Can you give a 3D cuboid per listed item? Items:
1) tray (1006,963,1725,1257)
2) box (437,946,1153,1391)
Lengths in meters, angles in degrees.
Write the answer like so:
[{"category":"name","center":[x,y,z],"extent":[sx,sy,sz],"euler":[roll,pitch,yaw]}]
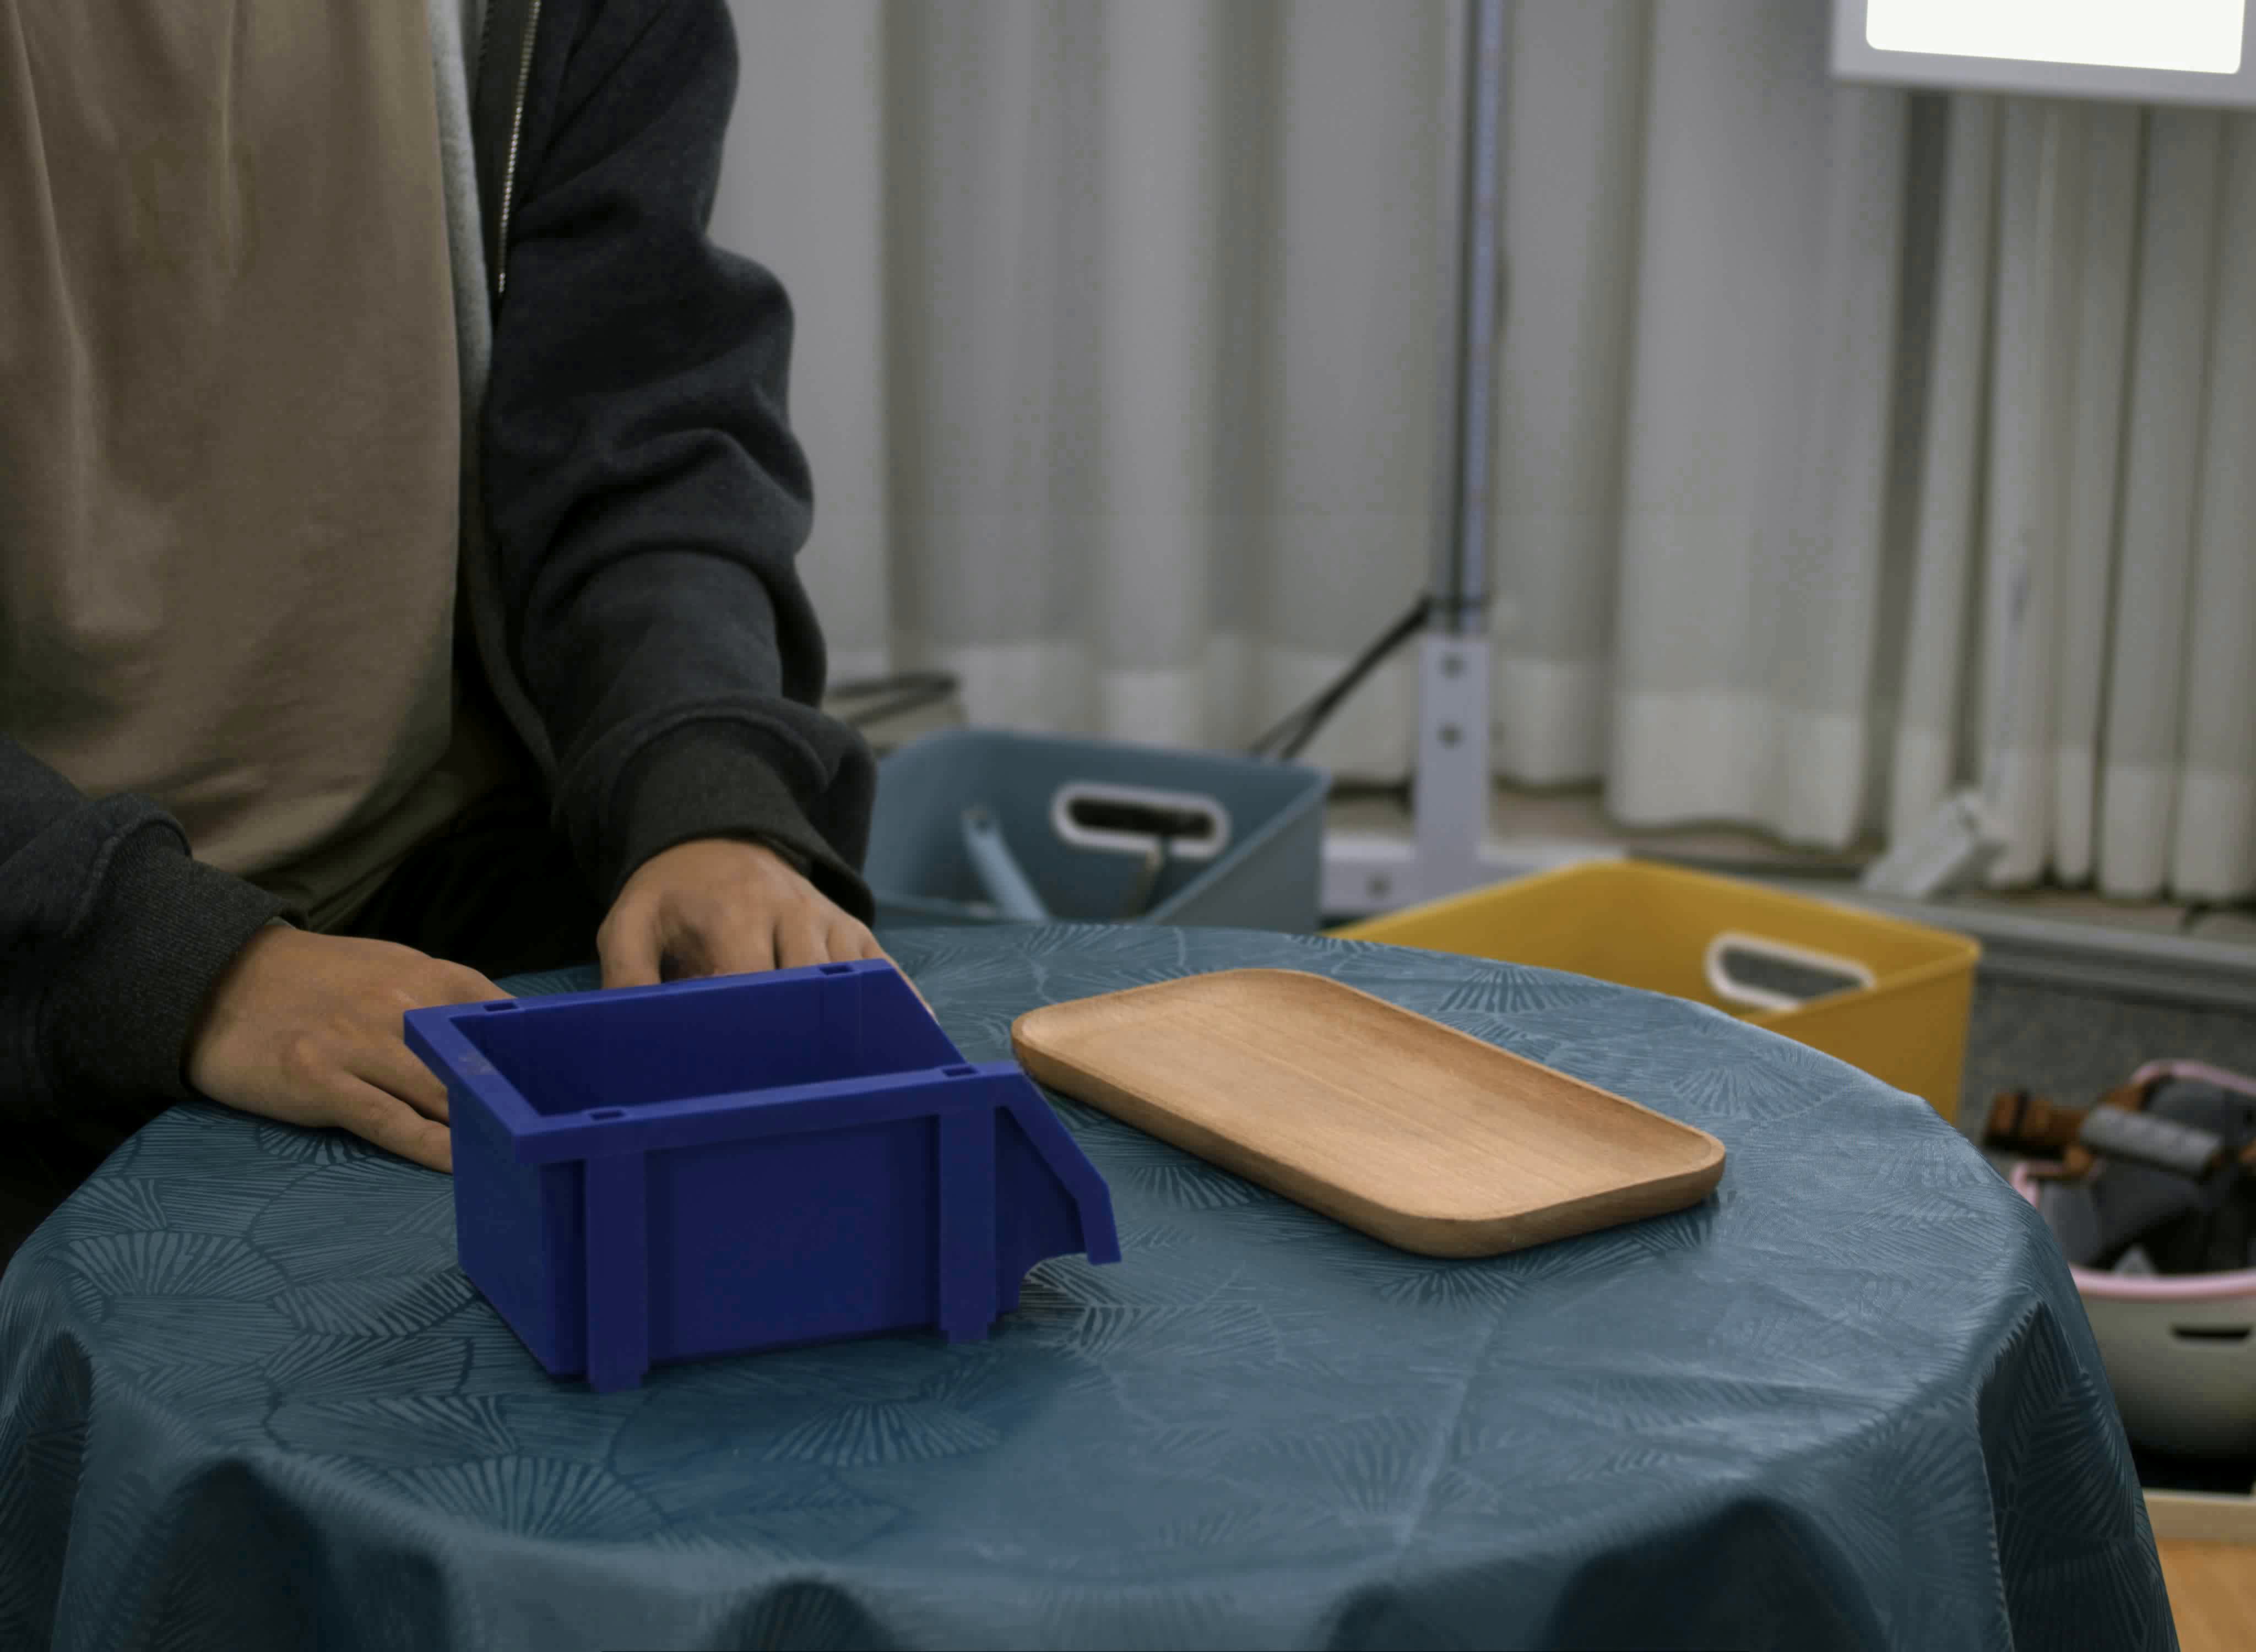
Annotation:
[{"category":"tray","center":[0.072,0.088,1.679],"extent":[0.131,0.023,0.247],"euler":[-7,17,-34]},{"category":"box","center":[-0.097,0.095,1.527],"extent":[0.180,0.082,0.123],"euler":[-9,17,-19]}]
